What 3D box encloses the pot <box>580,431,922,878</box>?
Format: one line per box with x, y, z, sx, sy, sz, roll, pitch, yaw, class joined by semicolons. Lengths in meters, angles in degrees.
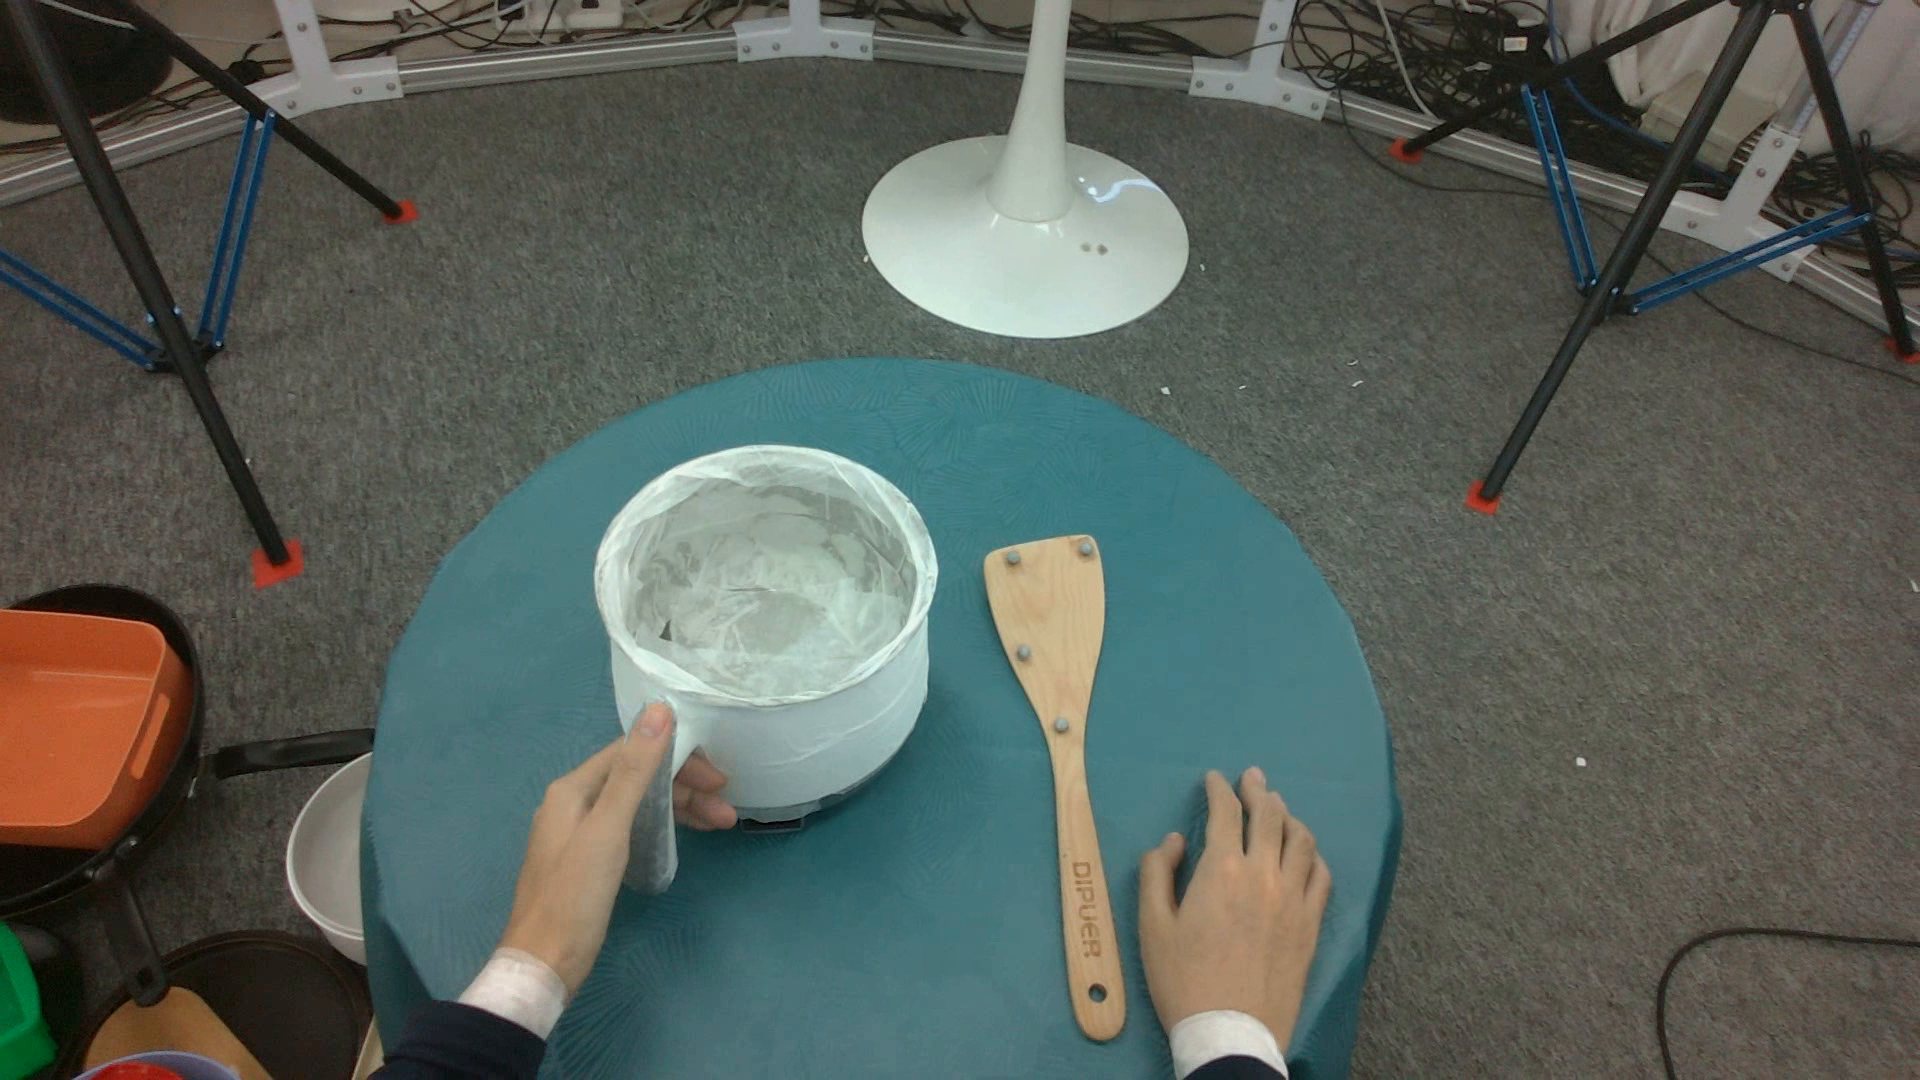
-0.124;0.065;0.746;0.178;0.136;0.235;20;49;12;pot

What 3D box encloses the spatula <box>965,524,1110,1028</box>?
0.053;0.120;0.803;0.080;0.016;0.329;0;50;-6;spatula
